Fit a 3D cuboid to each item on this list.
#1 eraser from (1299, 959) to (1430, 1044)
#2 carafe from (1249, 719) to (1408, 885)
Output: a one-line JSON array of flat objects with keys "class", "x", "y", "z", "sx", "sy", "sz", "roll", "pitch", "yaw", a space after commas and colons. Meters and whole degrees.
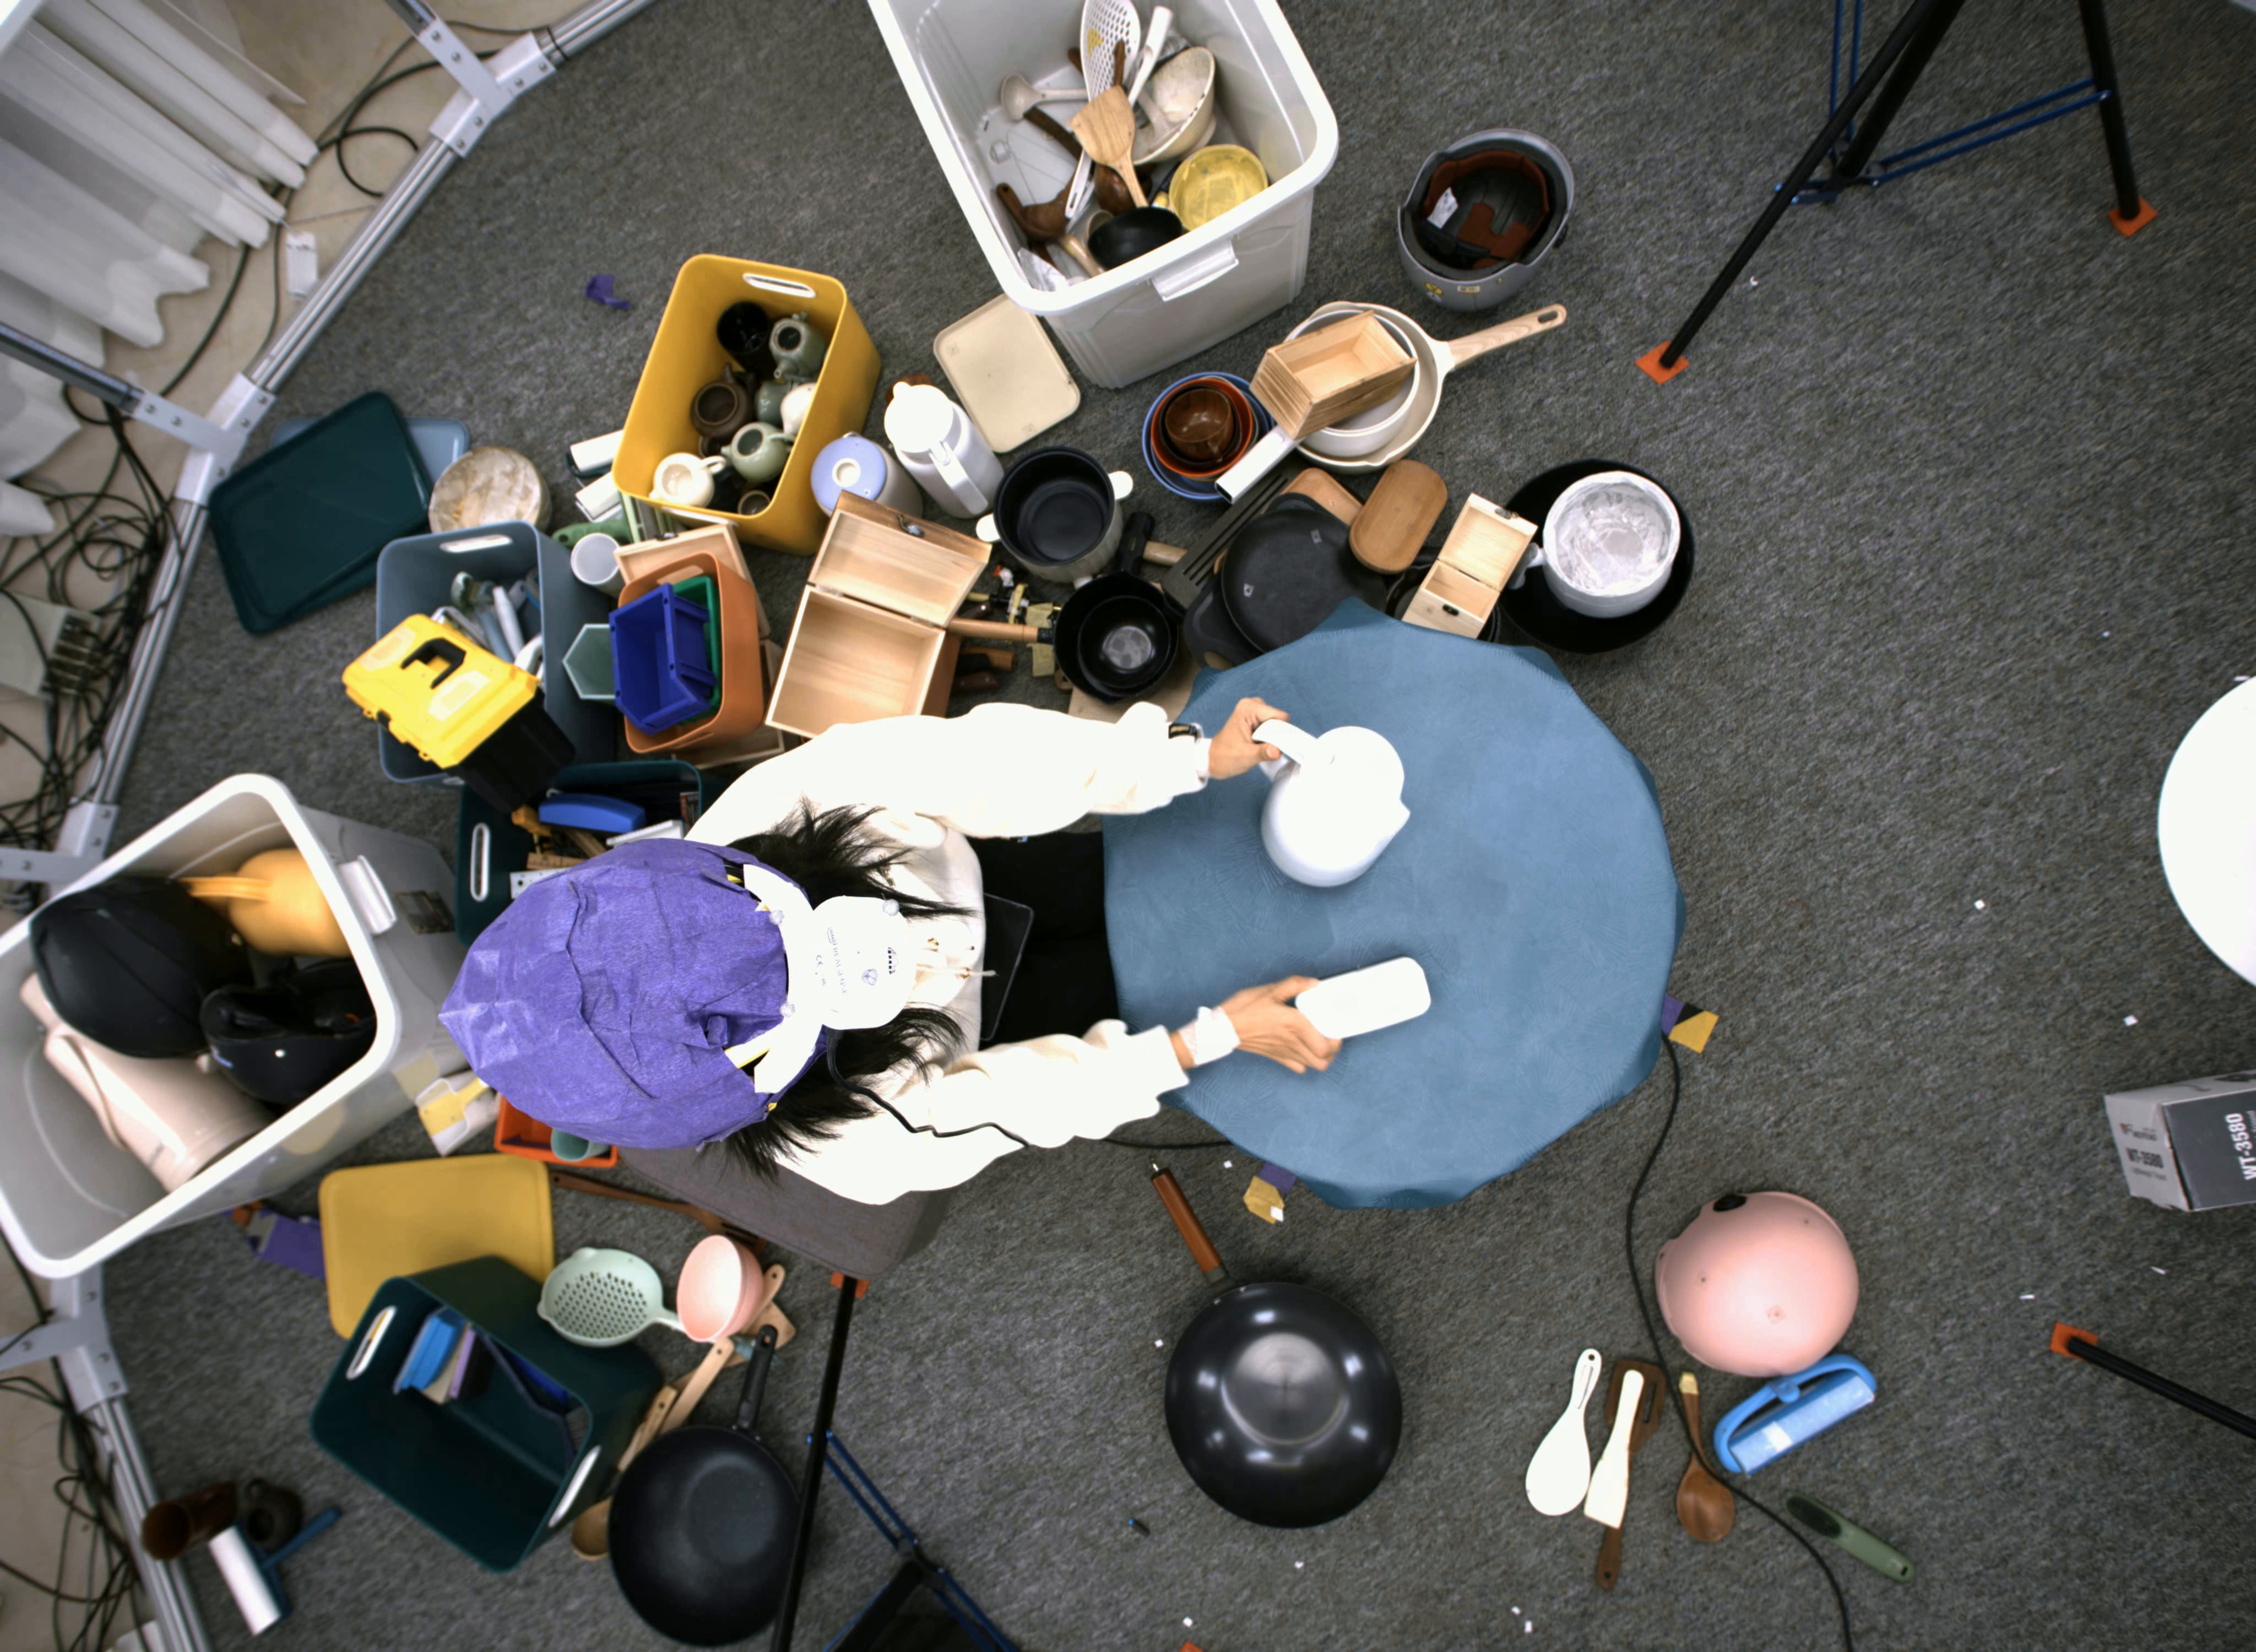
[{"class": "eraser", "x": 0.241, "y": 0.177, "z": 1.418, "sx": 0.132, "sy": 0.034, "sz": 0.064, "roll": -16, "pitch": 110, "yaw": 6}, {"class": "carafe", "x": 0.188, "y": -0.035, "z": 1.346, "sx": 0.167, "sy": 0.250, "sz": 0.132, "roll": 39, "pitch": 85, "yaw": 9}]
